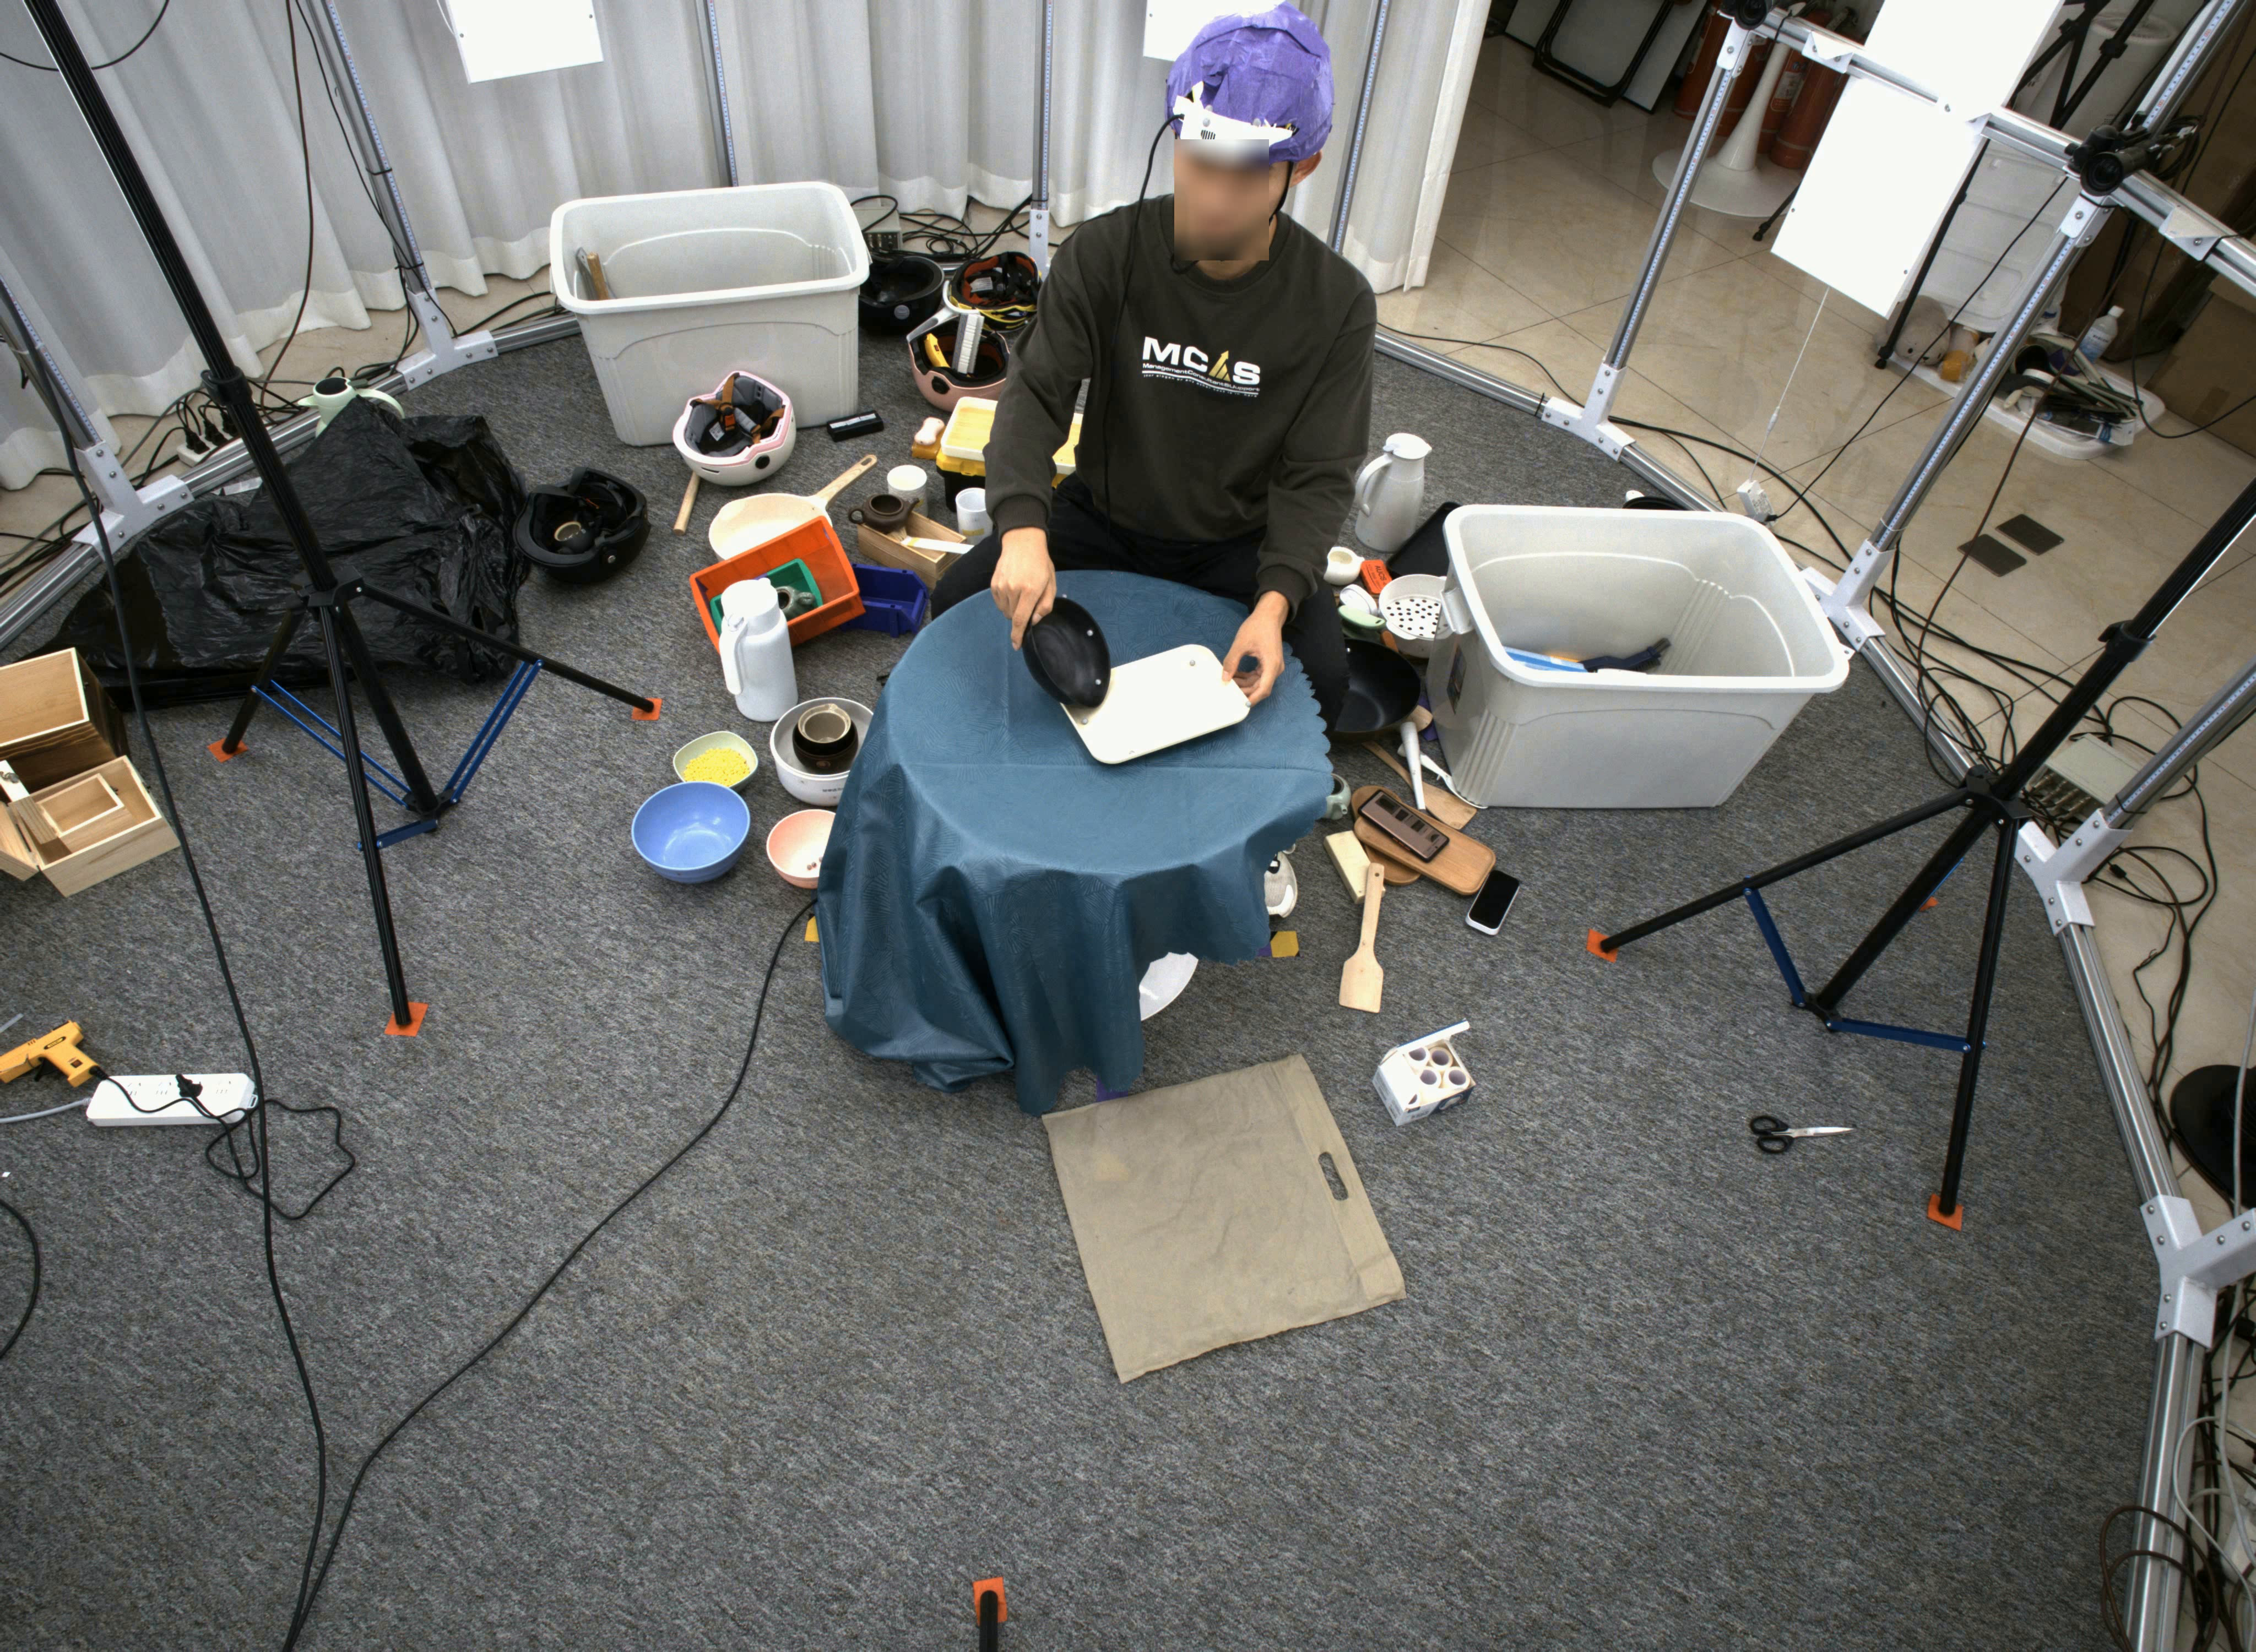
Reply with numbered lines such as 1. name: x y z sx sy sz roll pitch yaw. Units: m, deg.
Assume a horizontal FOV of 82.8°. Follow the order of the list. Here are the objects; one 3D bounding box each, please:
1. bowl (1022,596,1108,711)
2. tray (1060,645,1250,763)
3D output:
1. bowl: -0.095 -0.234 1.777 0.066 0.167 0.140 -12 36 42
2. tray: 0.036 -0.171 1.794 0.240 0.017 0.175 -19 49 -16
